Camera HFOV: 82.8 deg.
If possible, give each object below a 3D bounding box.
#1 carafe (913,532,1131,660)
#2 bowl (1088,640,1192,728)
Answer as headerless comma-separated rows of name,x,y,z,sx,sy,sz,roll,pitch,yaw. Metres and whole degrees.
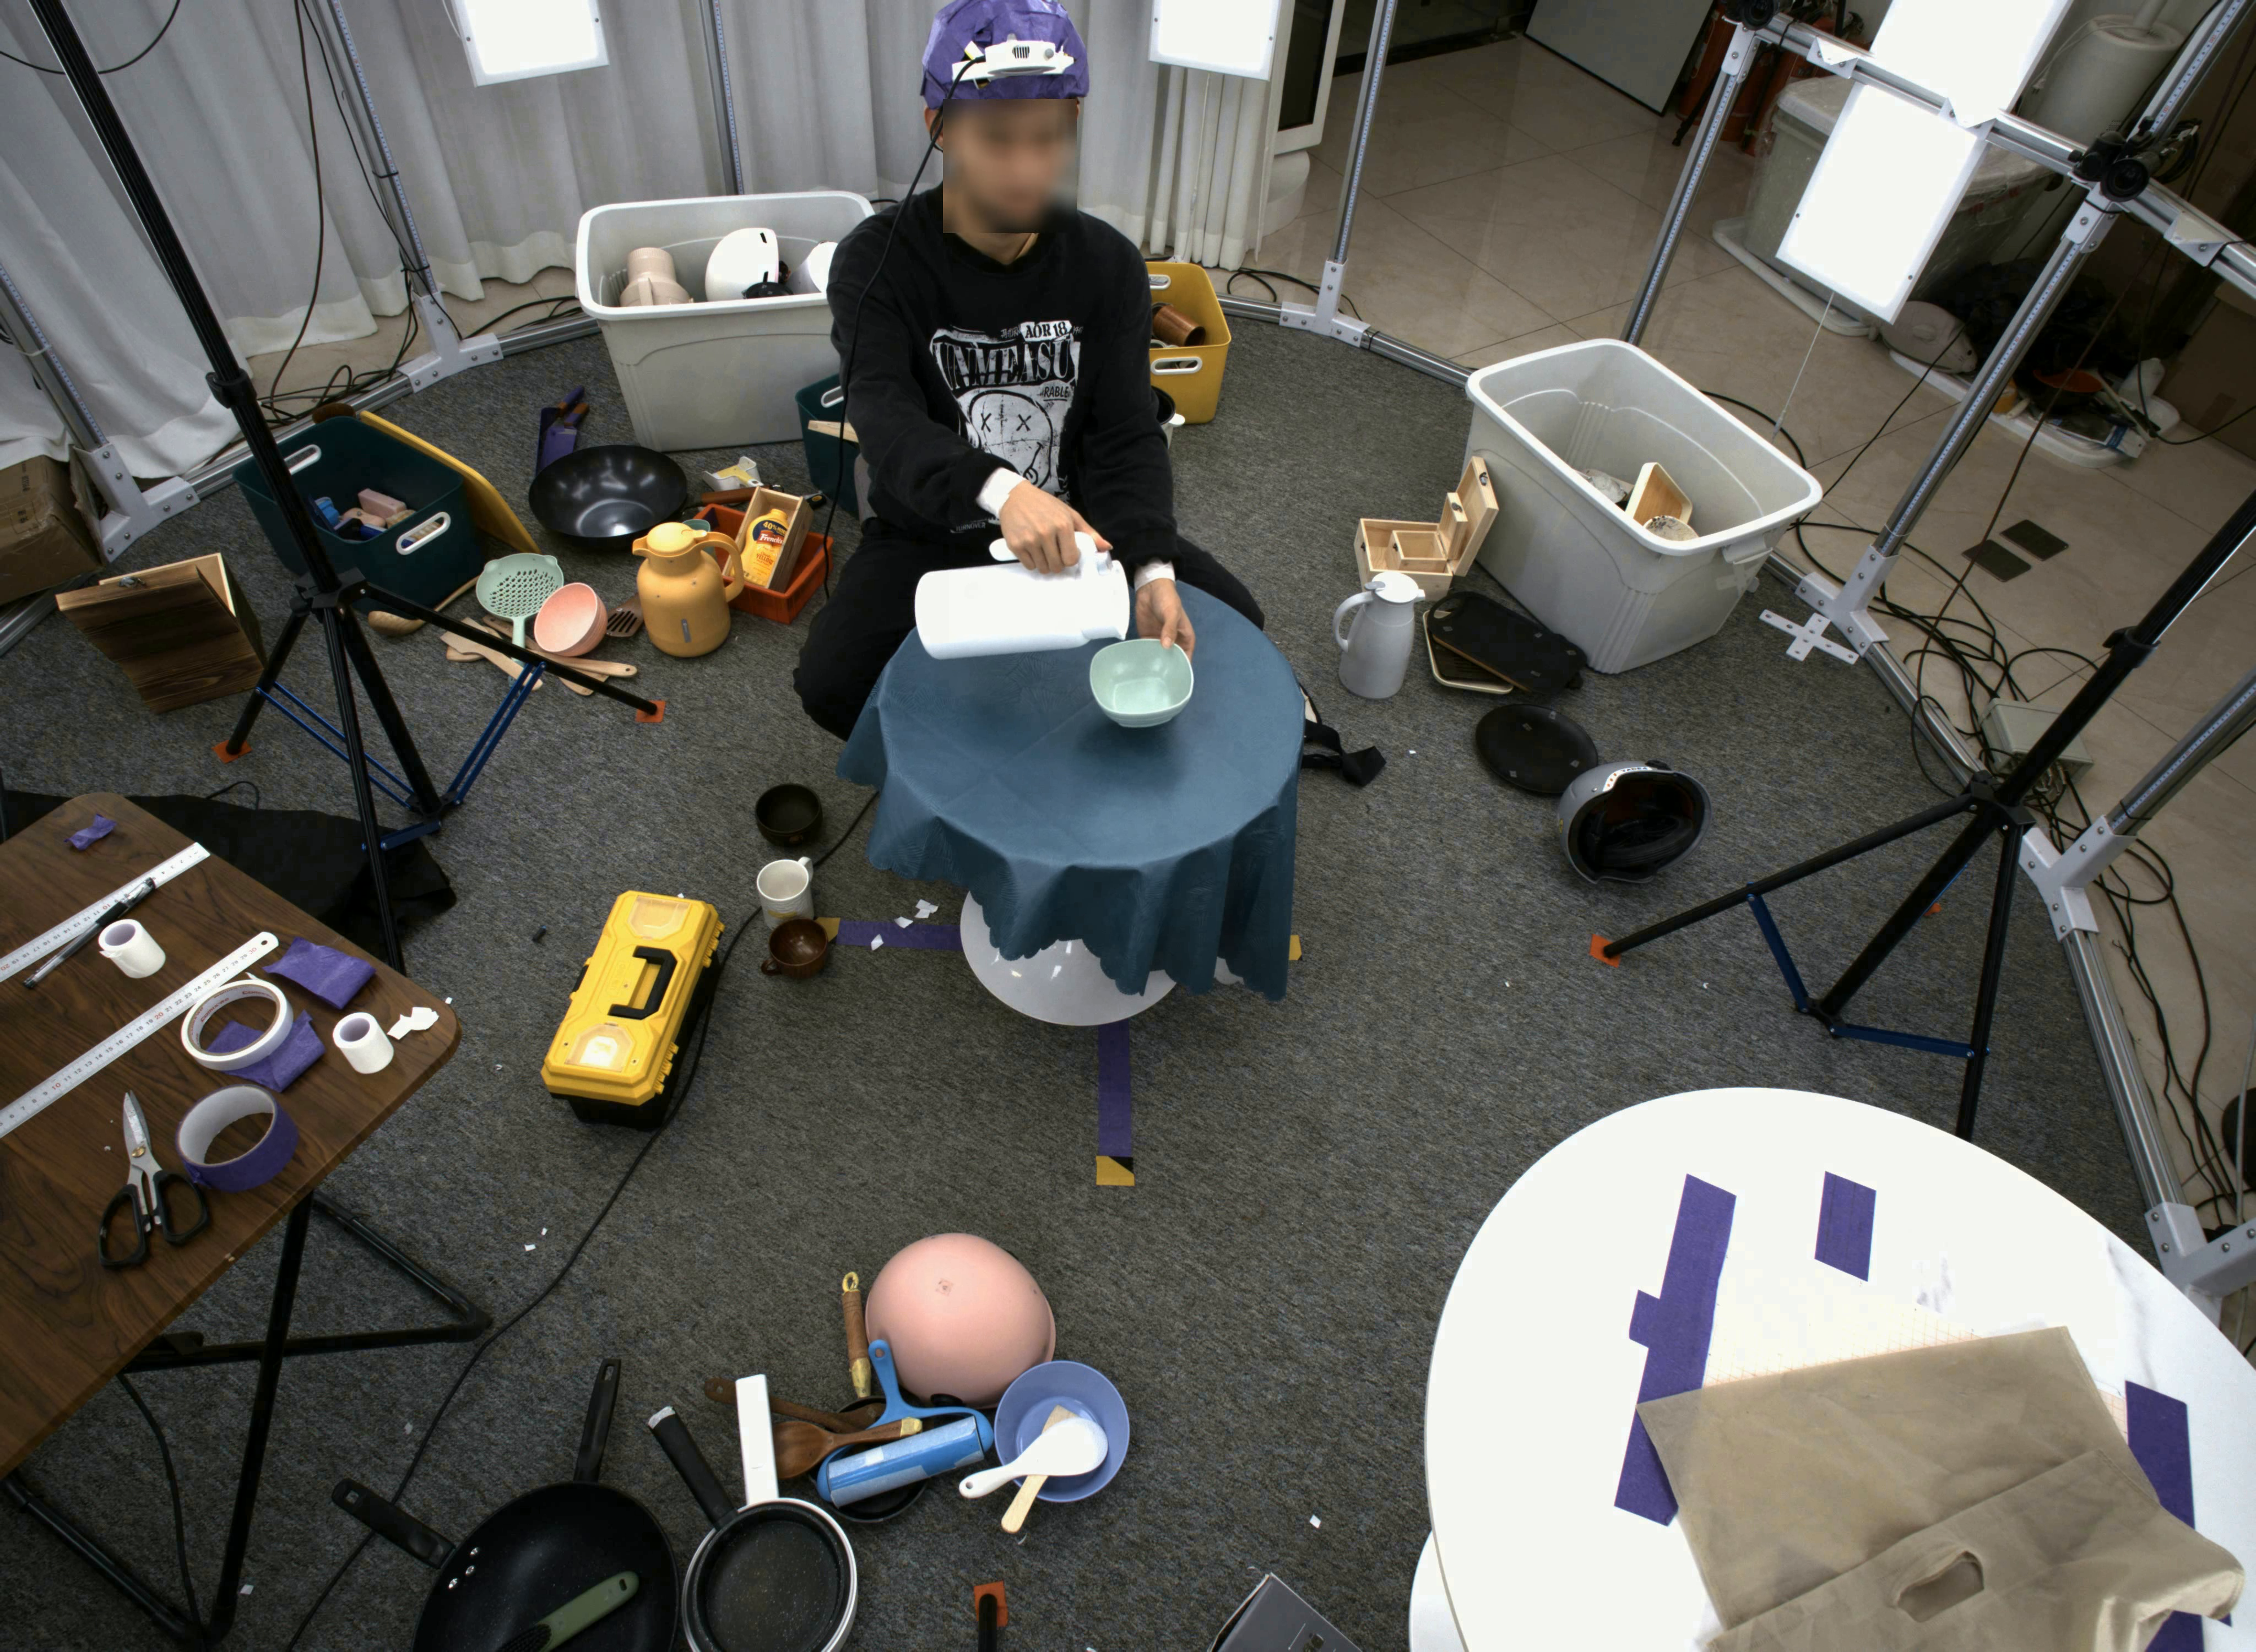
carafe,-0.142,-0.296,1.673,0.269,0.168,0.127,-2,51,17
bowl,0.017,-0.184,1.747,0.151,0.057,0.155,-2,51,2
